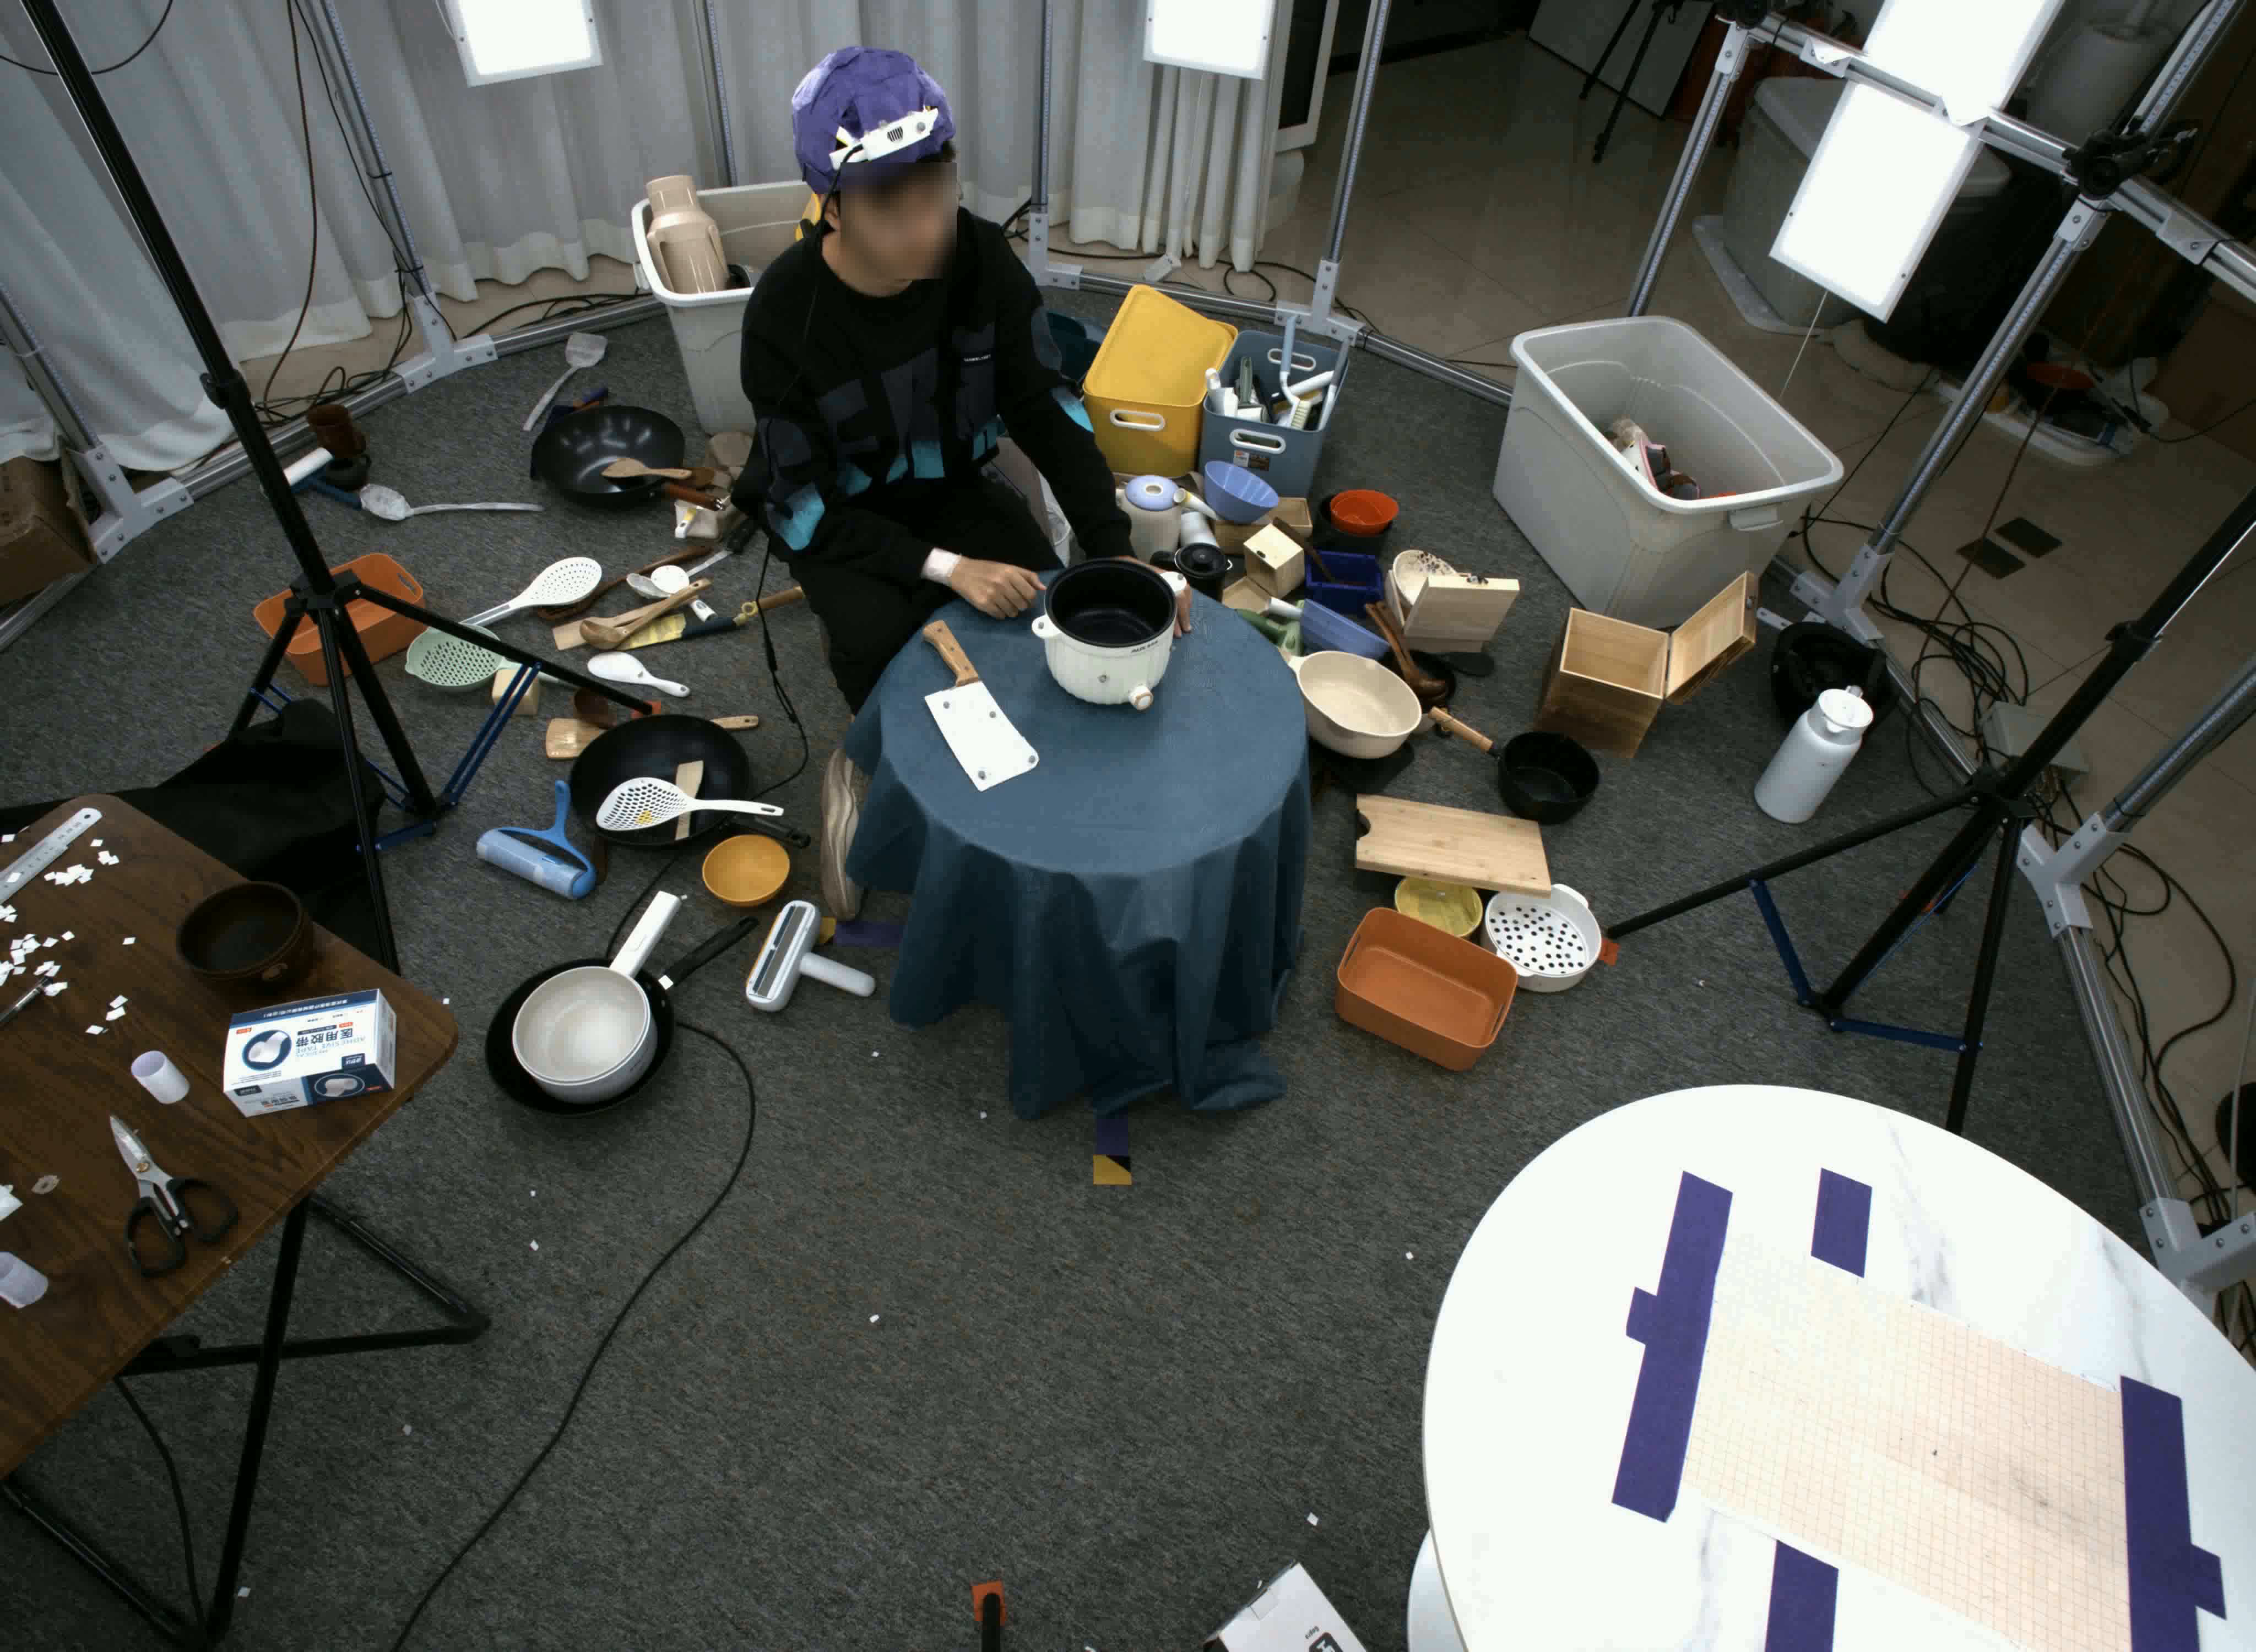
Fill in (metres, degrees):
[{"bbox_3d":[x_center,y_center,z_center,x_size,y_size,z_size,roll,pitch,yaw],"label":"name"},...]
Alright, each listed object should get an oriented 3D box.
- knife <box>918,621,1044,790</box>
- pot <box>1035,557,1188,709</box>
[{"bbox_3d":[-0.219,-0.175,1.795,0.114,0.021,0.322,-18,55,-18],"label":"knife"},{"bbox_3d":[-0.019,-0.264,1.807,0.241,0.139,0.194,-24,52,-21],"label":"pot"}]
